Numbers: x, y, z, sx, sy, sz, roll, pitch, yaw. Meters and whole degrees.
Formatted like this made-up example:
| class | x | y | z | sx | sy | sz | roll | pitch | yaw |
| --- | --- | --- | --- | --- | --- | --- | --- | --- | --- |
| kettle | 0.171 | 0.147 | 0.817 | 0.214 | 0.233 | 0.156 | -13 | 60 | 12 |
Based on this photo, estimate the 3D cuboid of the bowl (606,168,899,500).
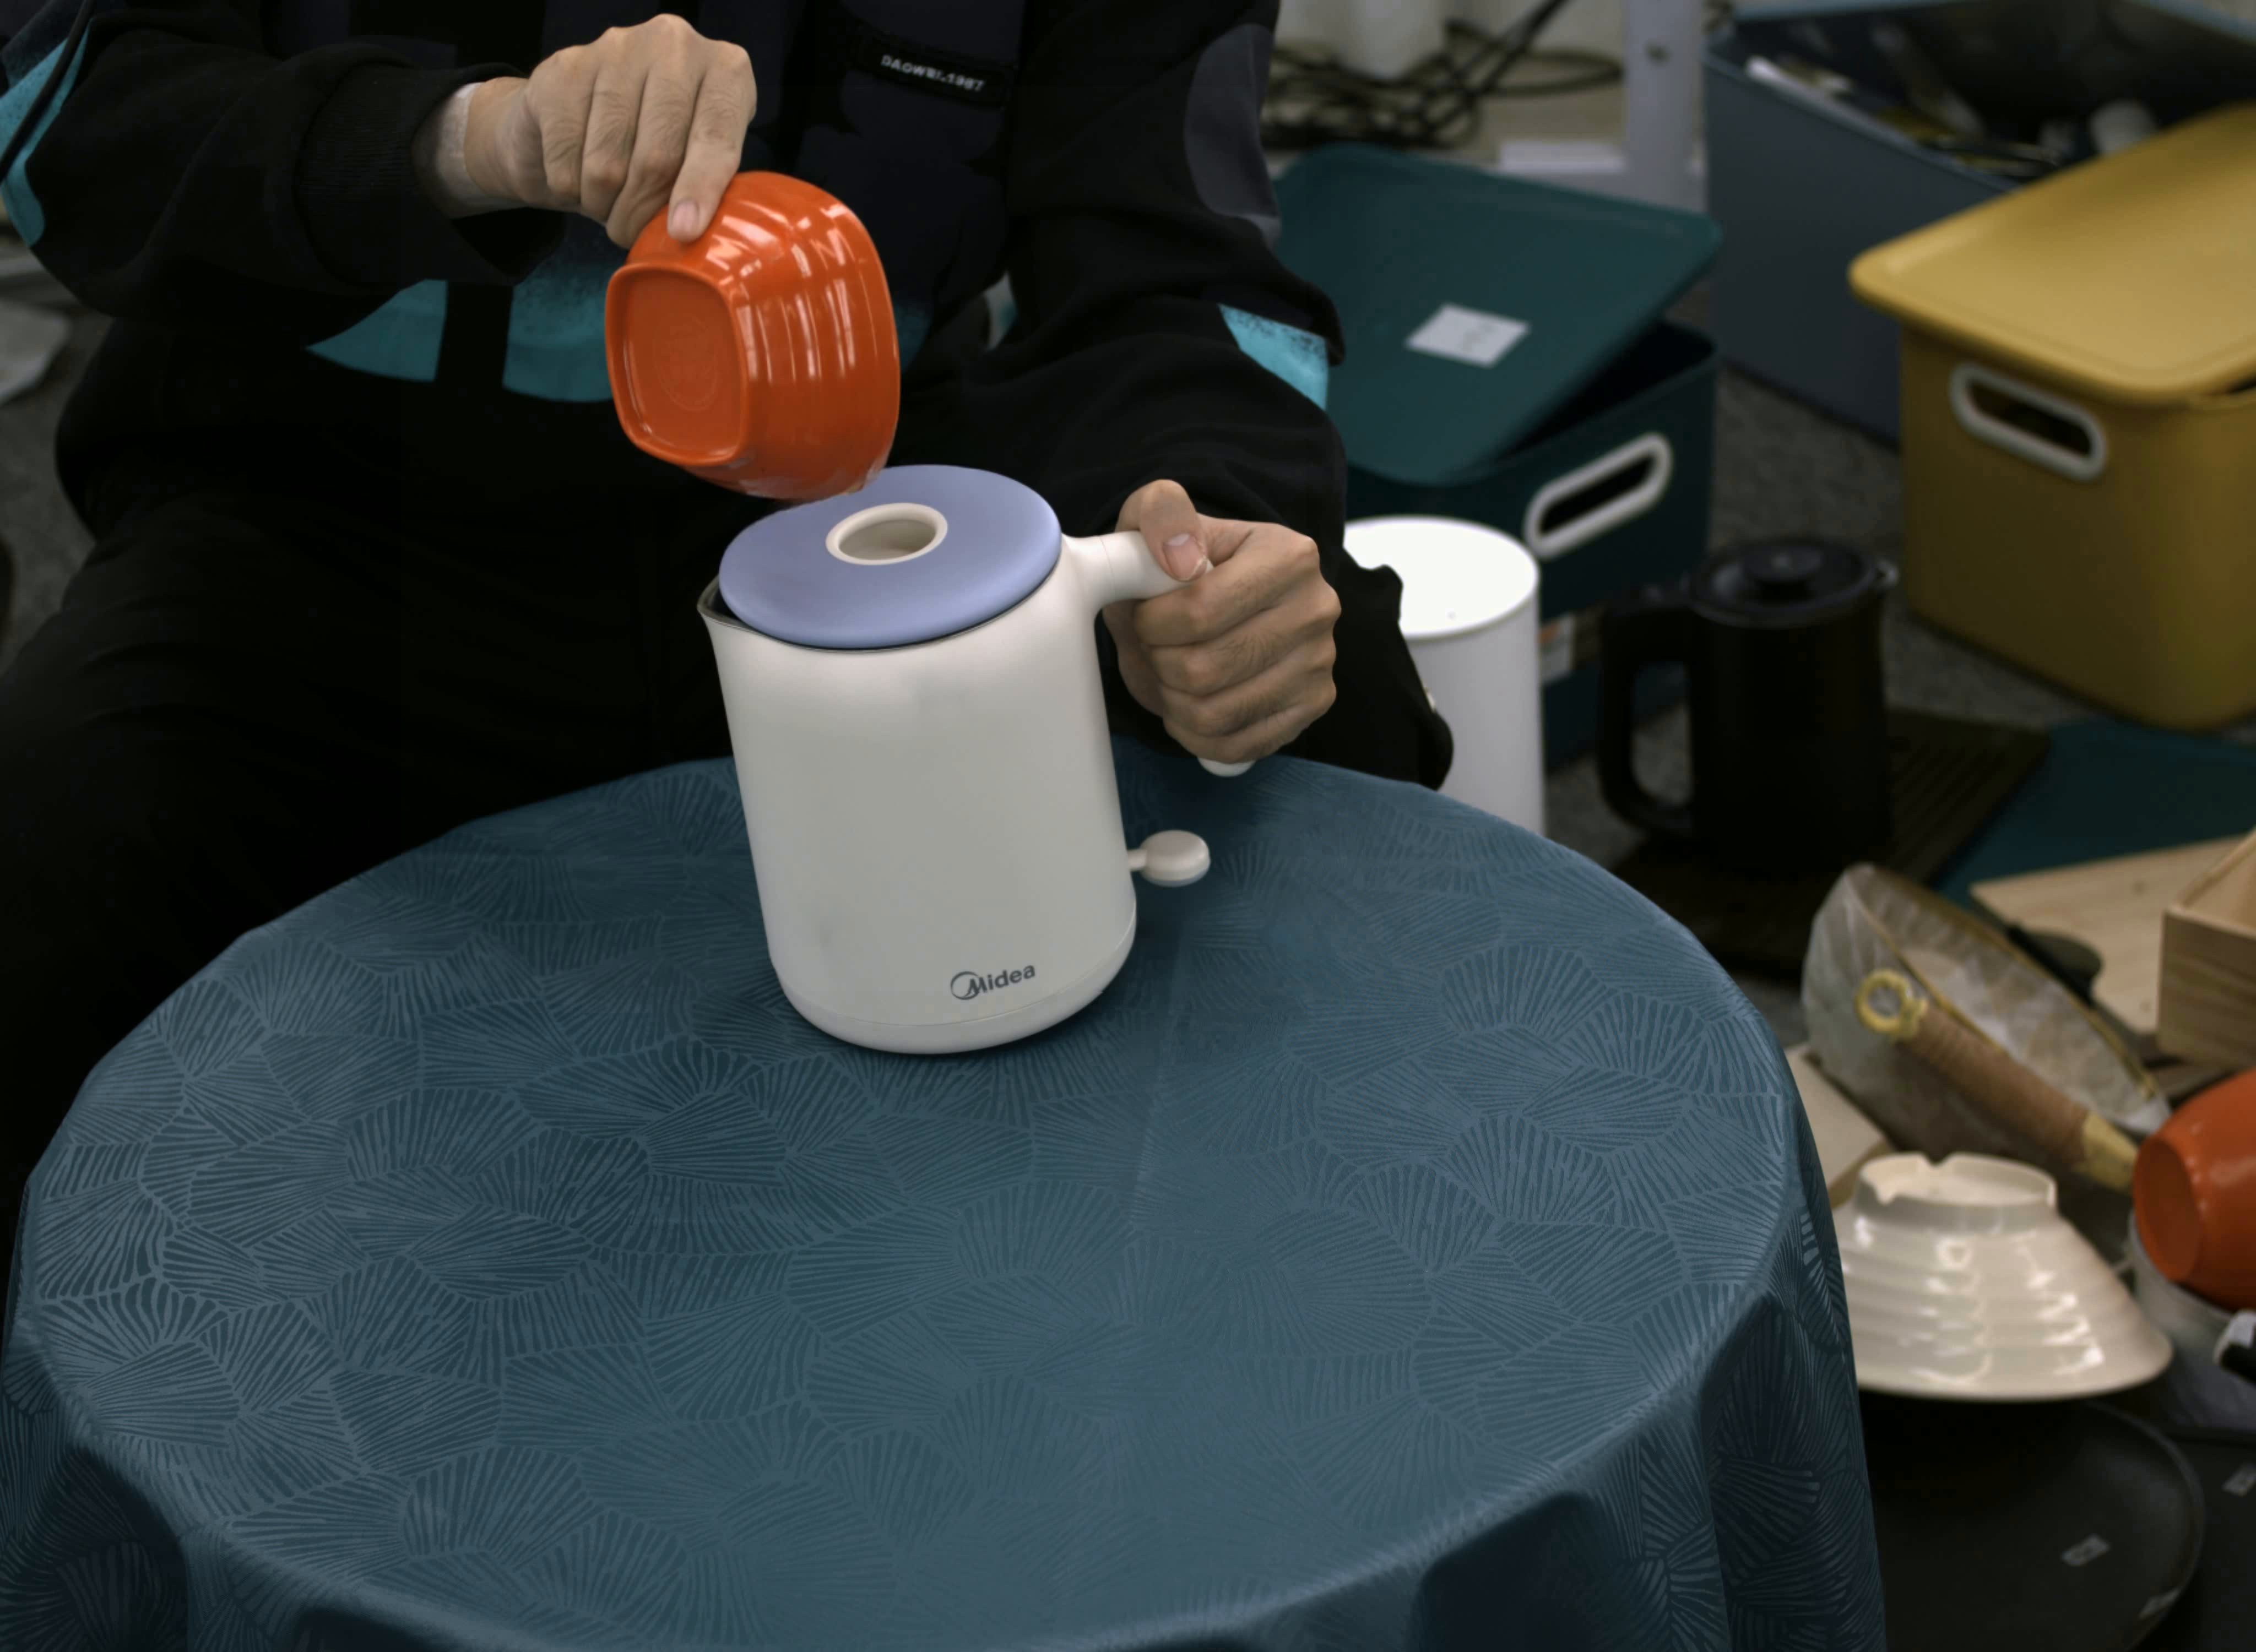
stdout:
| class | x | y | z | sx | sy | sz | roll | pitch | yaw |
| --- | --- | --- | --- | --- | --- | --- | --- | --- | --- |
| bowl | -0.130 | -0.156 | 1.849 | 0.052 | 0.118 | 0.119 | -20 | 31 | -41 |

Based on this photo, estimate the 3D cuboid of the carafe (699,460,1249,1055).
| class | x | y | z | sx | sy | sz | roll | pitch | yaw |
| --- | --- | --- | --- | --- | --- | --- | --- | --- | --- |
| carafe | -0.049 | -0.029 | 1.960 | 0.191 | 0.180 | 0.133 | -13 | 32 | -14 |
